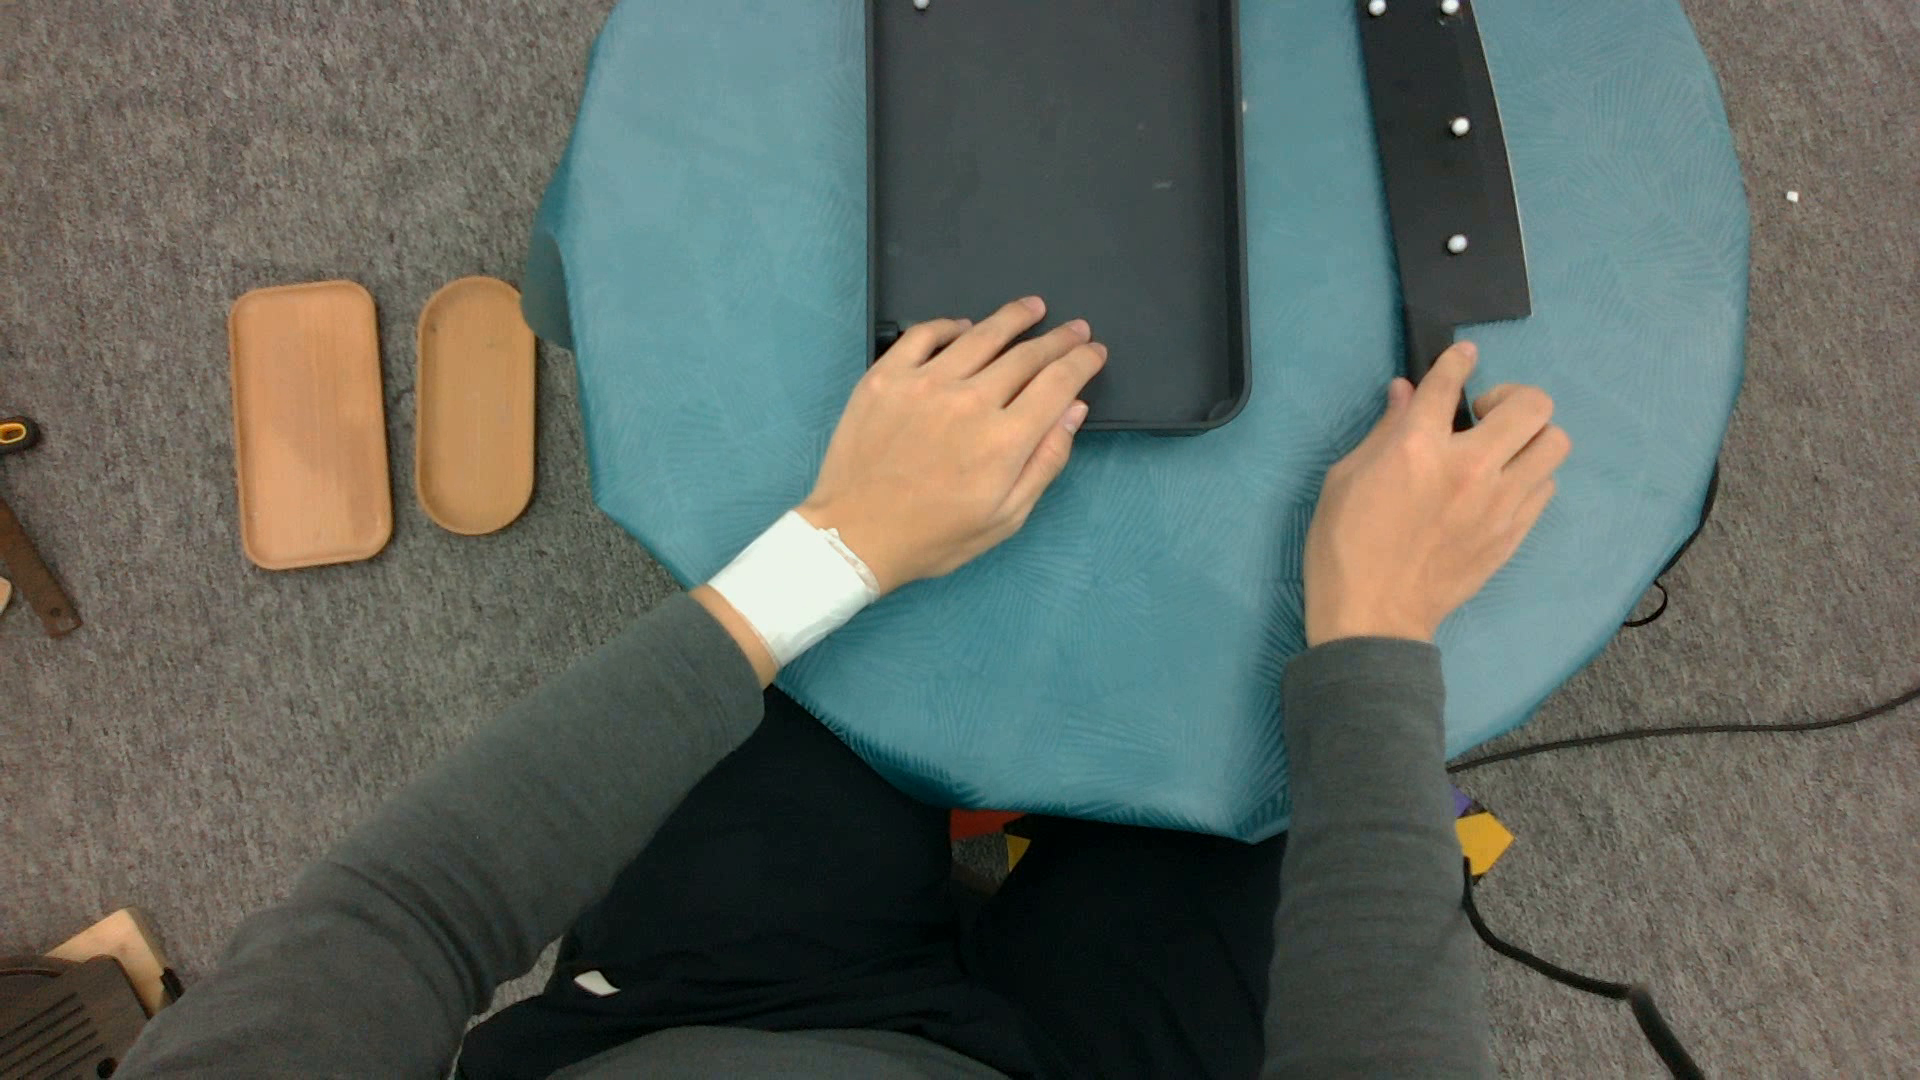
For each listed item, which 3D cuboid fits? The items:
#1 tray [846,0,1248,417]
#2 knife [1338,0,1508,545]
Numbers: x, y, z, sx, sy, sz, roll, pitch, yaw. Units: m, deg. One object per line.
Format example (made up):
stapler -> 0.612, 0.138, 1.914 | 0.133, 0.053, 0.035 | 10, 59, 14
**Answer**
tray -> 0.037, -0.220, 0.680 | 0.184, 0.037, 0.318 | -3, 83, -3
knife -> 0.238, -0.147, 0.693 | 0.081, 0.021, 0.302 | -2, 82, -6
